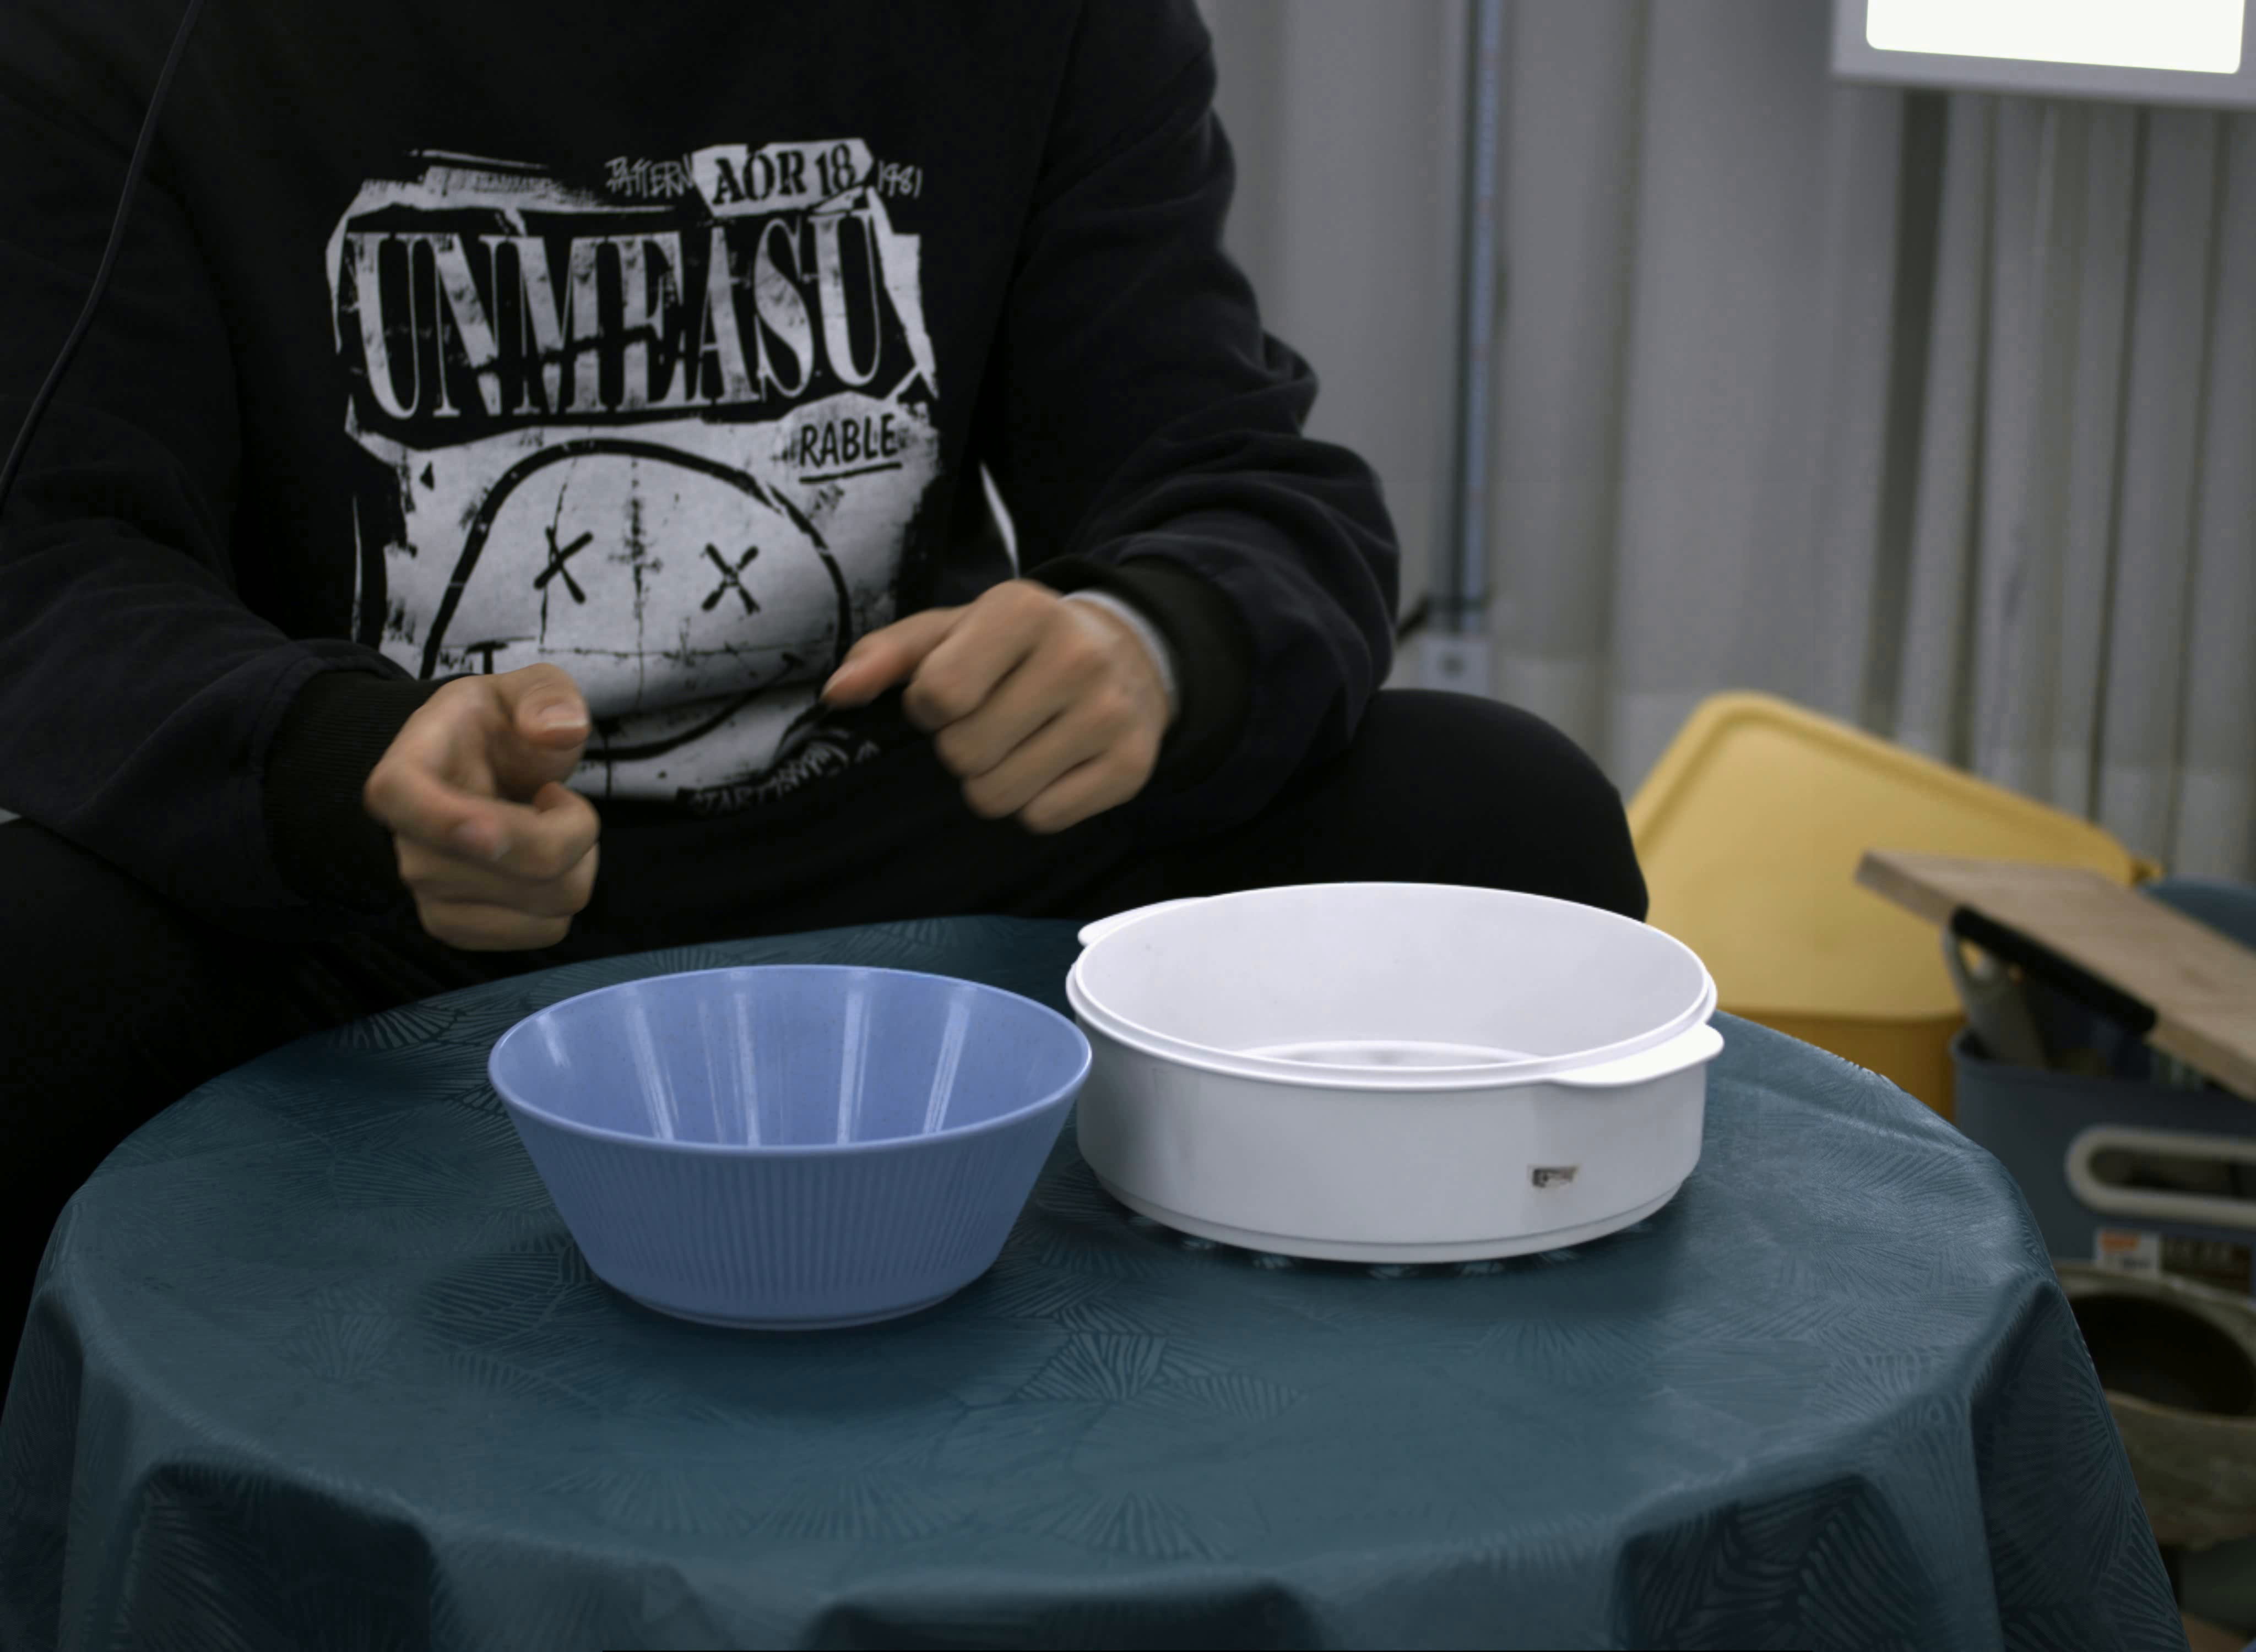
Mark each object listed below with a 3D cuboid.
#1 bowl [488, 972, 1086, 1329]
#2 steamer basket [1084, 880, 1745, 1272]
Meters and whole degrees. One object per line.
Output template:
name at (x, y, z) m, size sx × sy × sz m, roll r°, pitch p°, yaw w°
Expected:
bowl at (-0.100, 0.097, 1.546) m, size 0.175 × 0.071 × 0.175 m, roll 2°, pitch 15°, yaw 0°
steamer basket at (0.085, 0.077, 1.629) m, size 0.227 × 0.070 × 0.203 m, roll 18°, pitch 23°, yaw 40°
